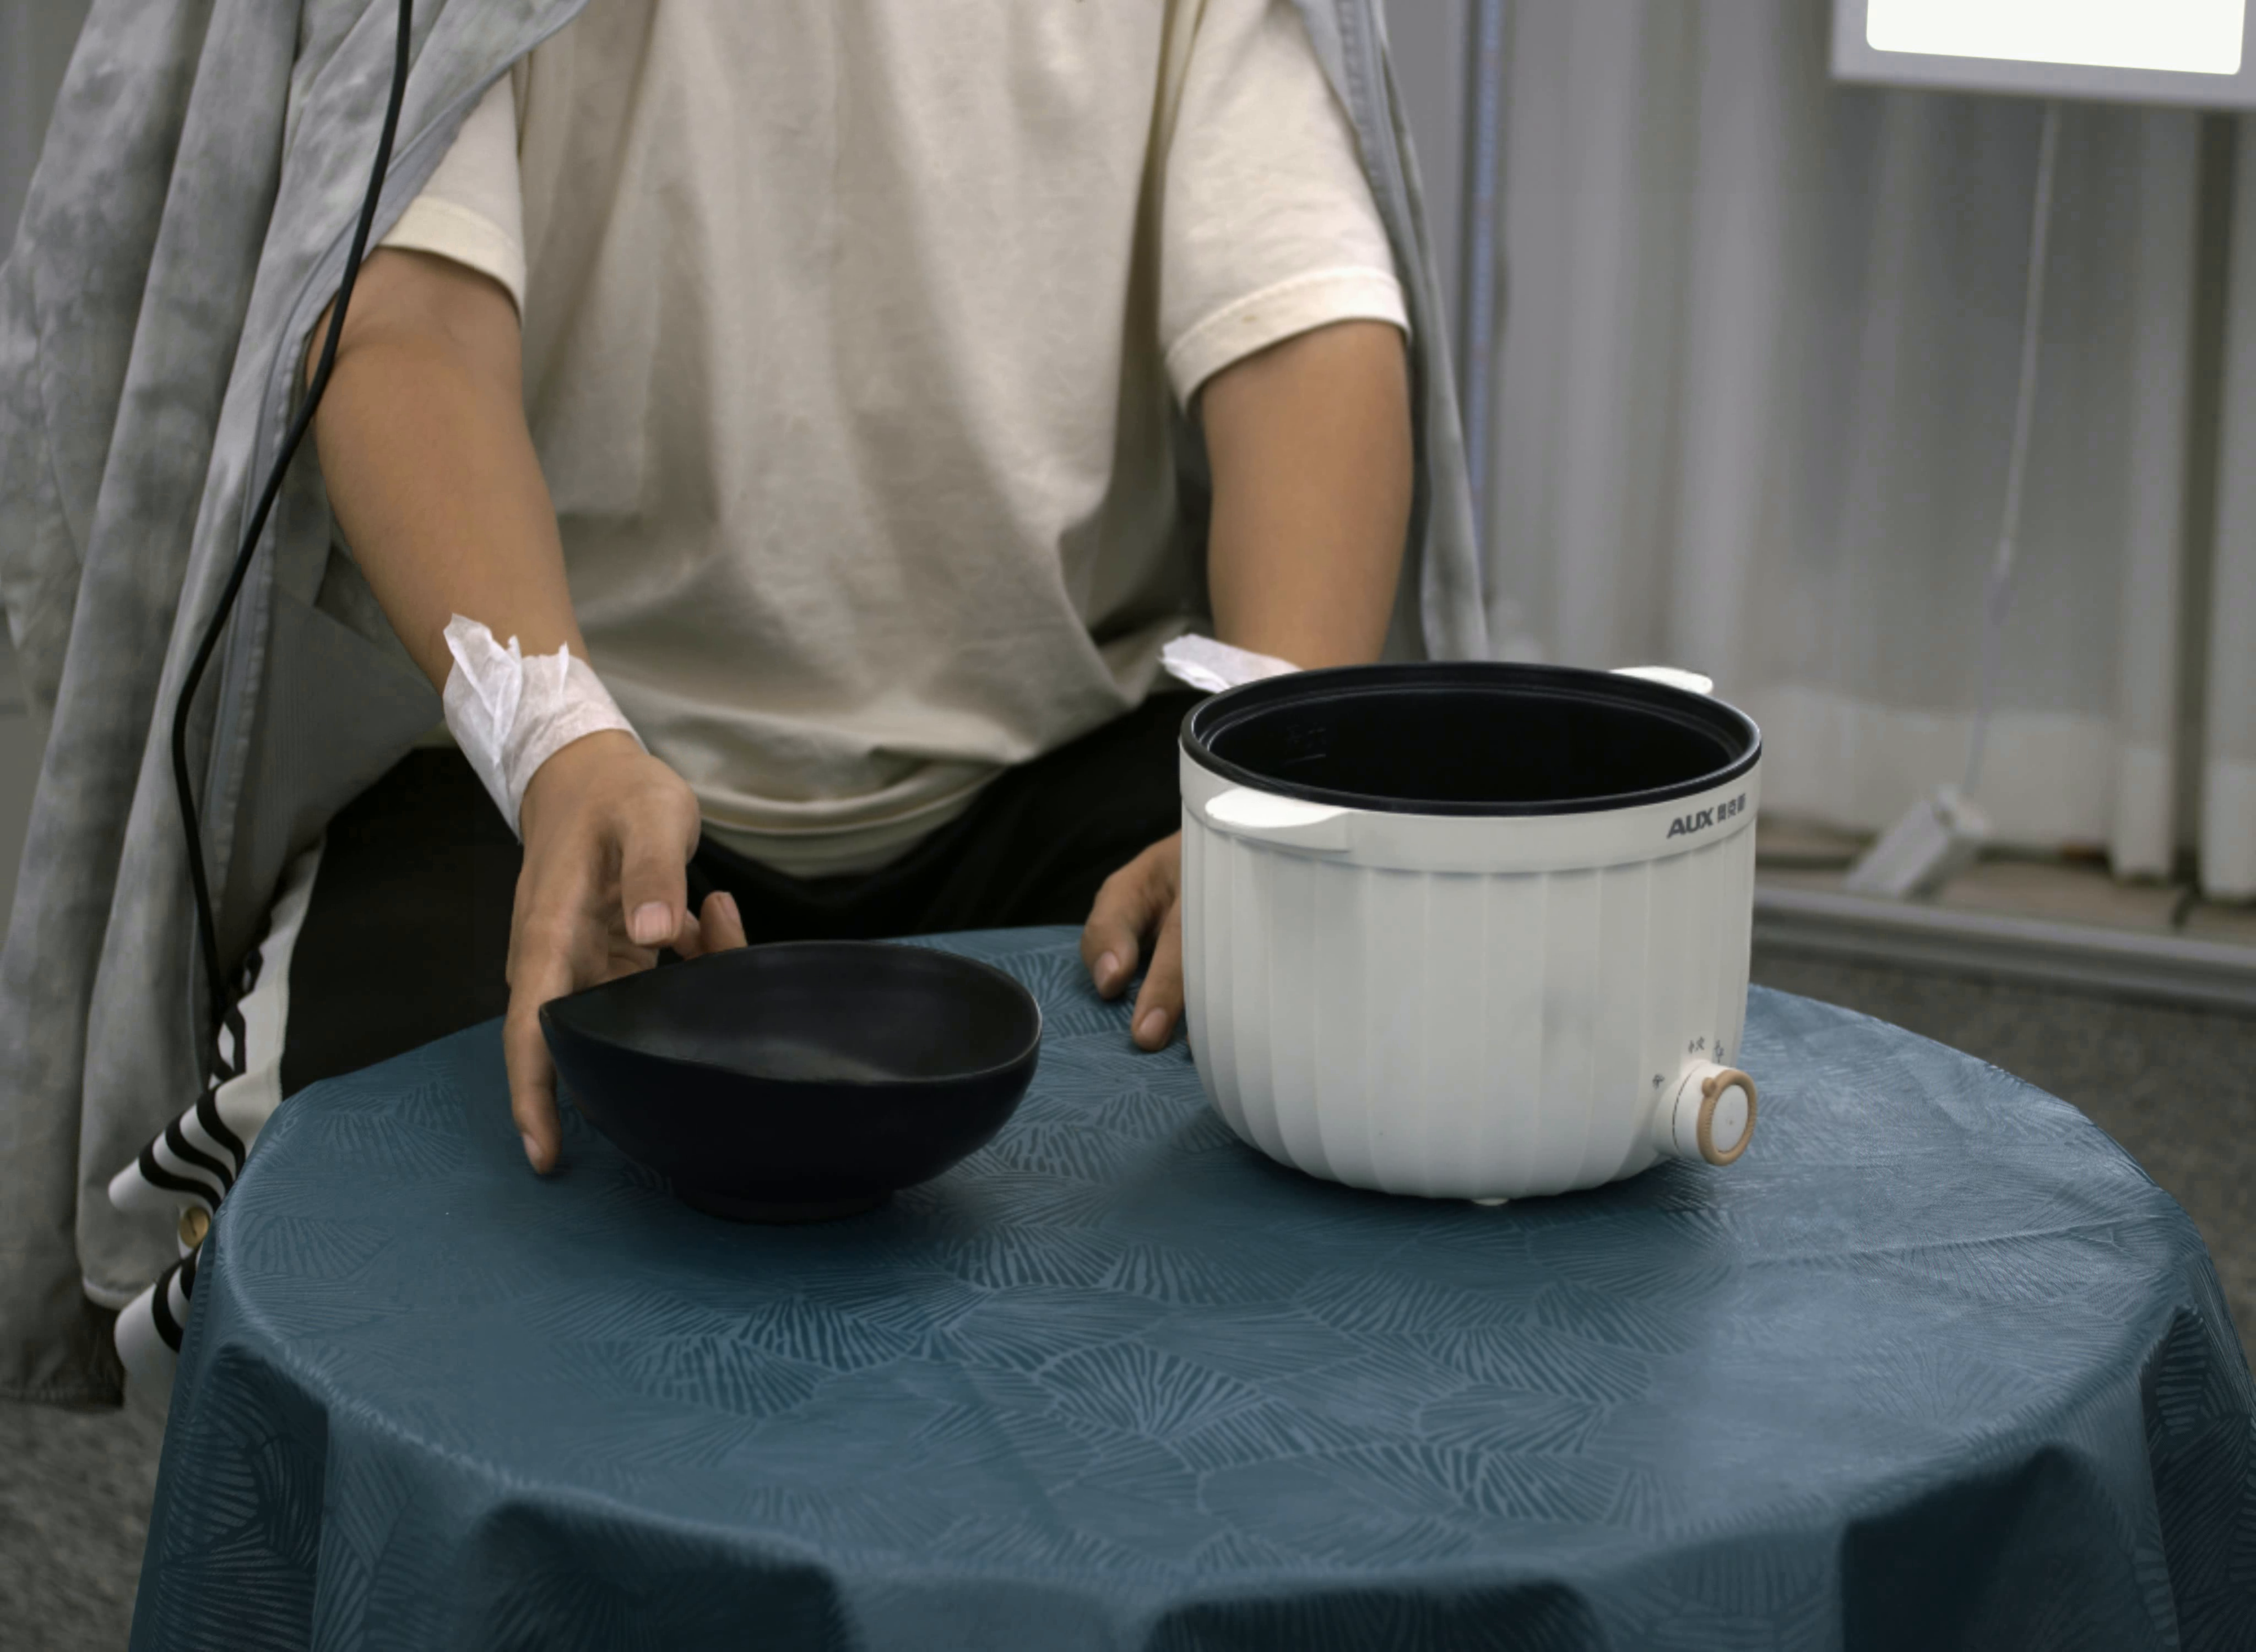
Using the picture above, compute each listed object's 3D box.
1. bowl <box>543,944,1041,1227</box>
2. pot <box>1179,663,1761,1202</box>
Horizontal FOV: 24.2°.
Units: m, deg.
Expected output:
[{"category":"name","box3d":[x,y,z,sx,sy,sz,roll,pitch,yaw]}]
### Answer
[{"category":"bowl","box3d":[-0.105,0.083,1.610,0.168,0.067,0.138,11,17,36]},{"category":"pot","box3d":[0.111,0.034,1.653,0.188,0.144,0.241,8,18,37]}]
